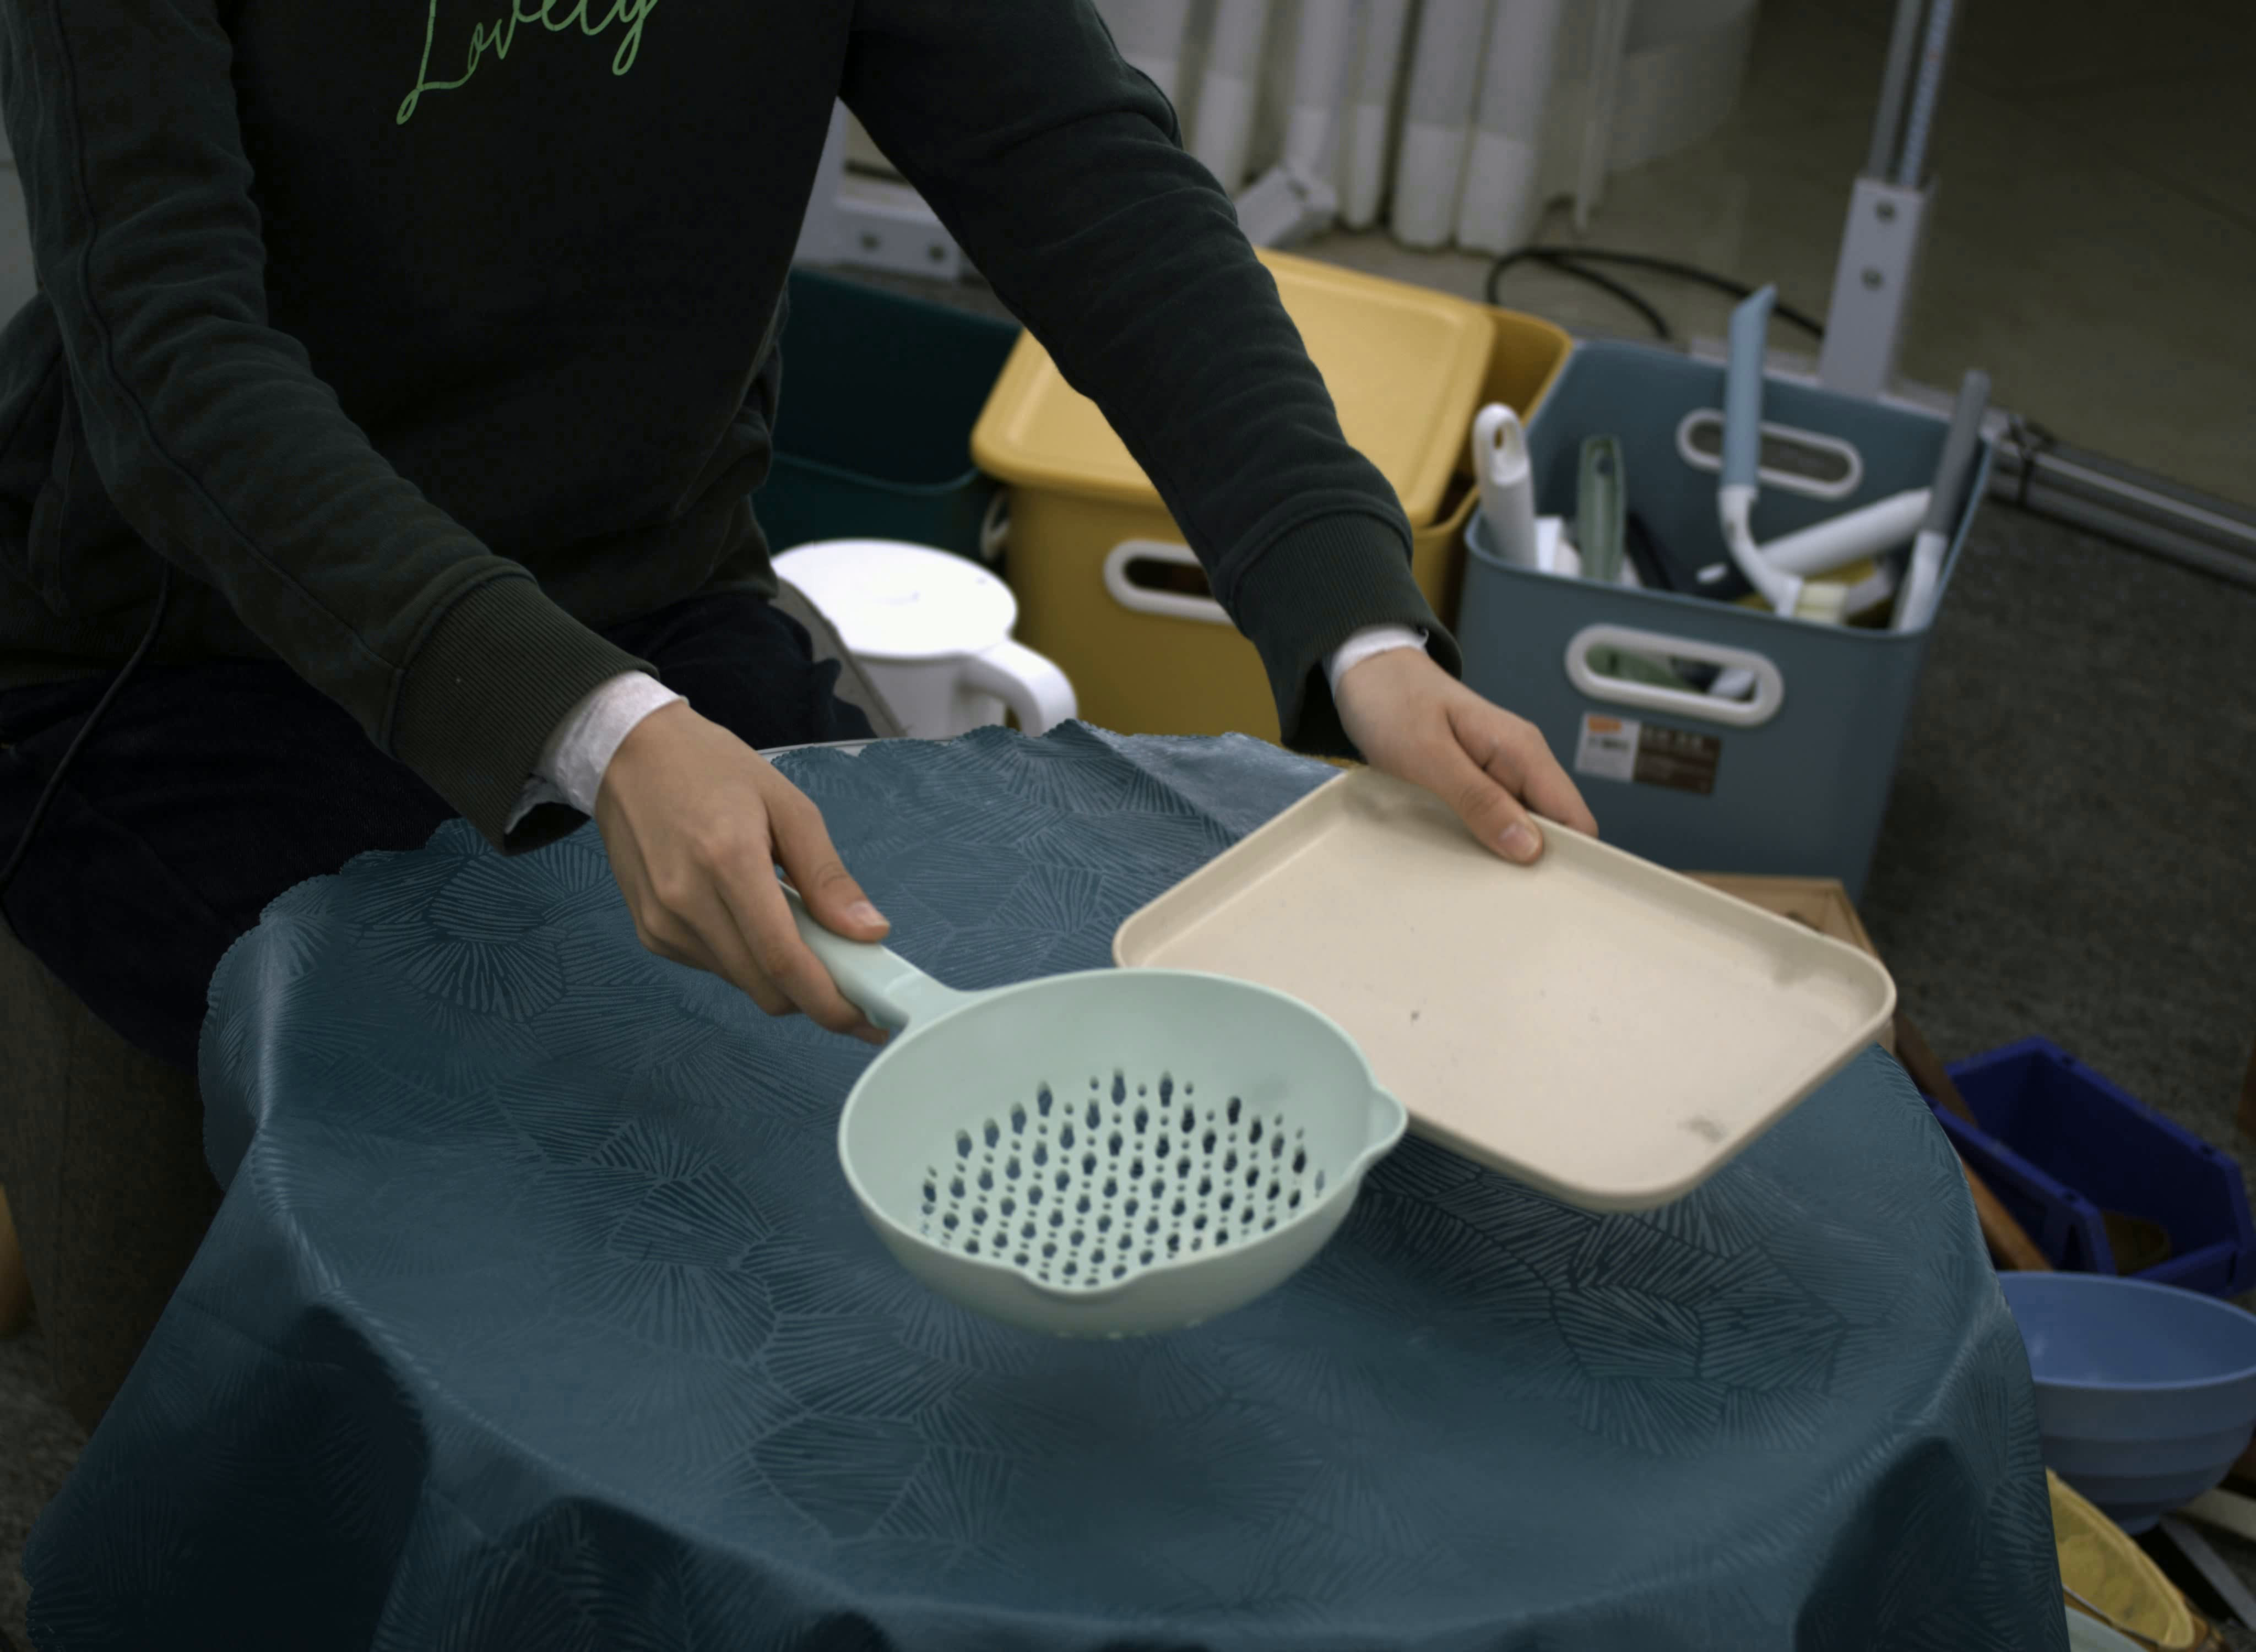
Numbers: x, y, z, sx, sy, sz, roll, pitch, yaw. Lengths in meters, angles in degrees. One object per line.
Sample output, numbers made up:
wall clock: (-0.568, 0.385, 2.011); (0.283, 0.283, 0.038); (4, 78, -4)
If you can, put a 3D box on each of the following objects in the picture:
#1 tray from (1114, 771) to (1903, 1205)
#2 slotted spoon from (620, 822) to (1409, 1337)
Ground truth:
tray: (0.128, 0.053, 1.804); (0.241, 0.017, 0.171); (22, 40, 34)
slotted spoon: (-0.064, 0.064, 1.717); (0.168, 0.075, 0.362); (-24, 42, -29)
